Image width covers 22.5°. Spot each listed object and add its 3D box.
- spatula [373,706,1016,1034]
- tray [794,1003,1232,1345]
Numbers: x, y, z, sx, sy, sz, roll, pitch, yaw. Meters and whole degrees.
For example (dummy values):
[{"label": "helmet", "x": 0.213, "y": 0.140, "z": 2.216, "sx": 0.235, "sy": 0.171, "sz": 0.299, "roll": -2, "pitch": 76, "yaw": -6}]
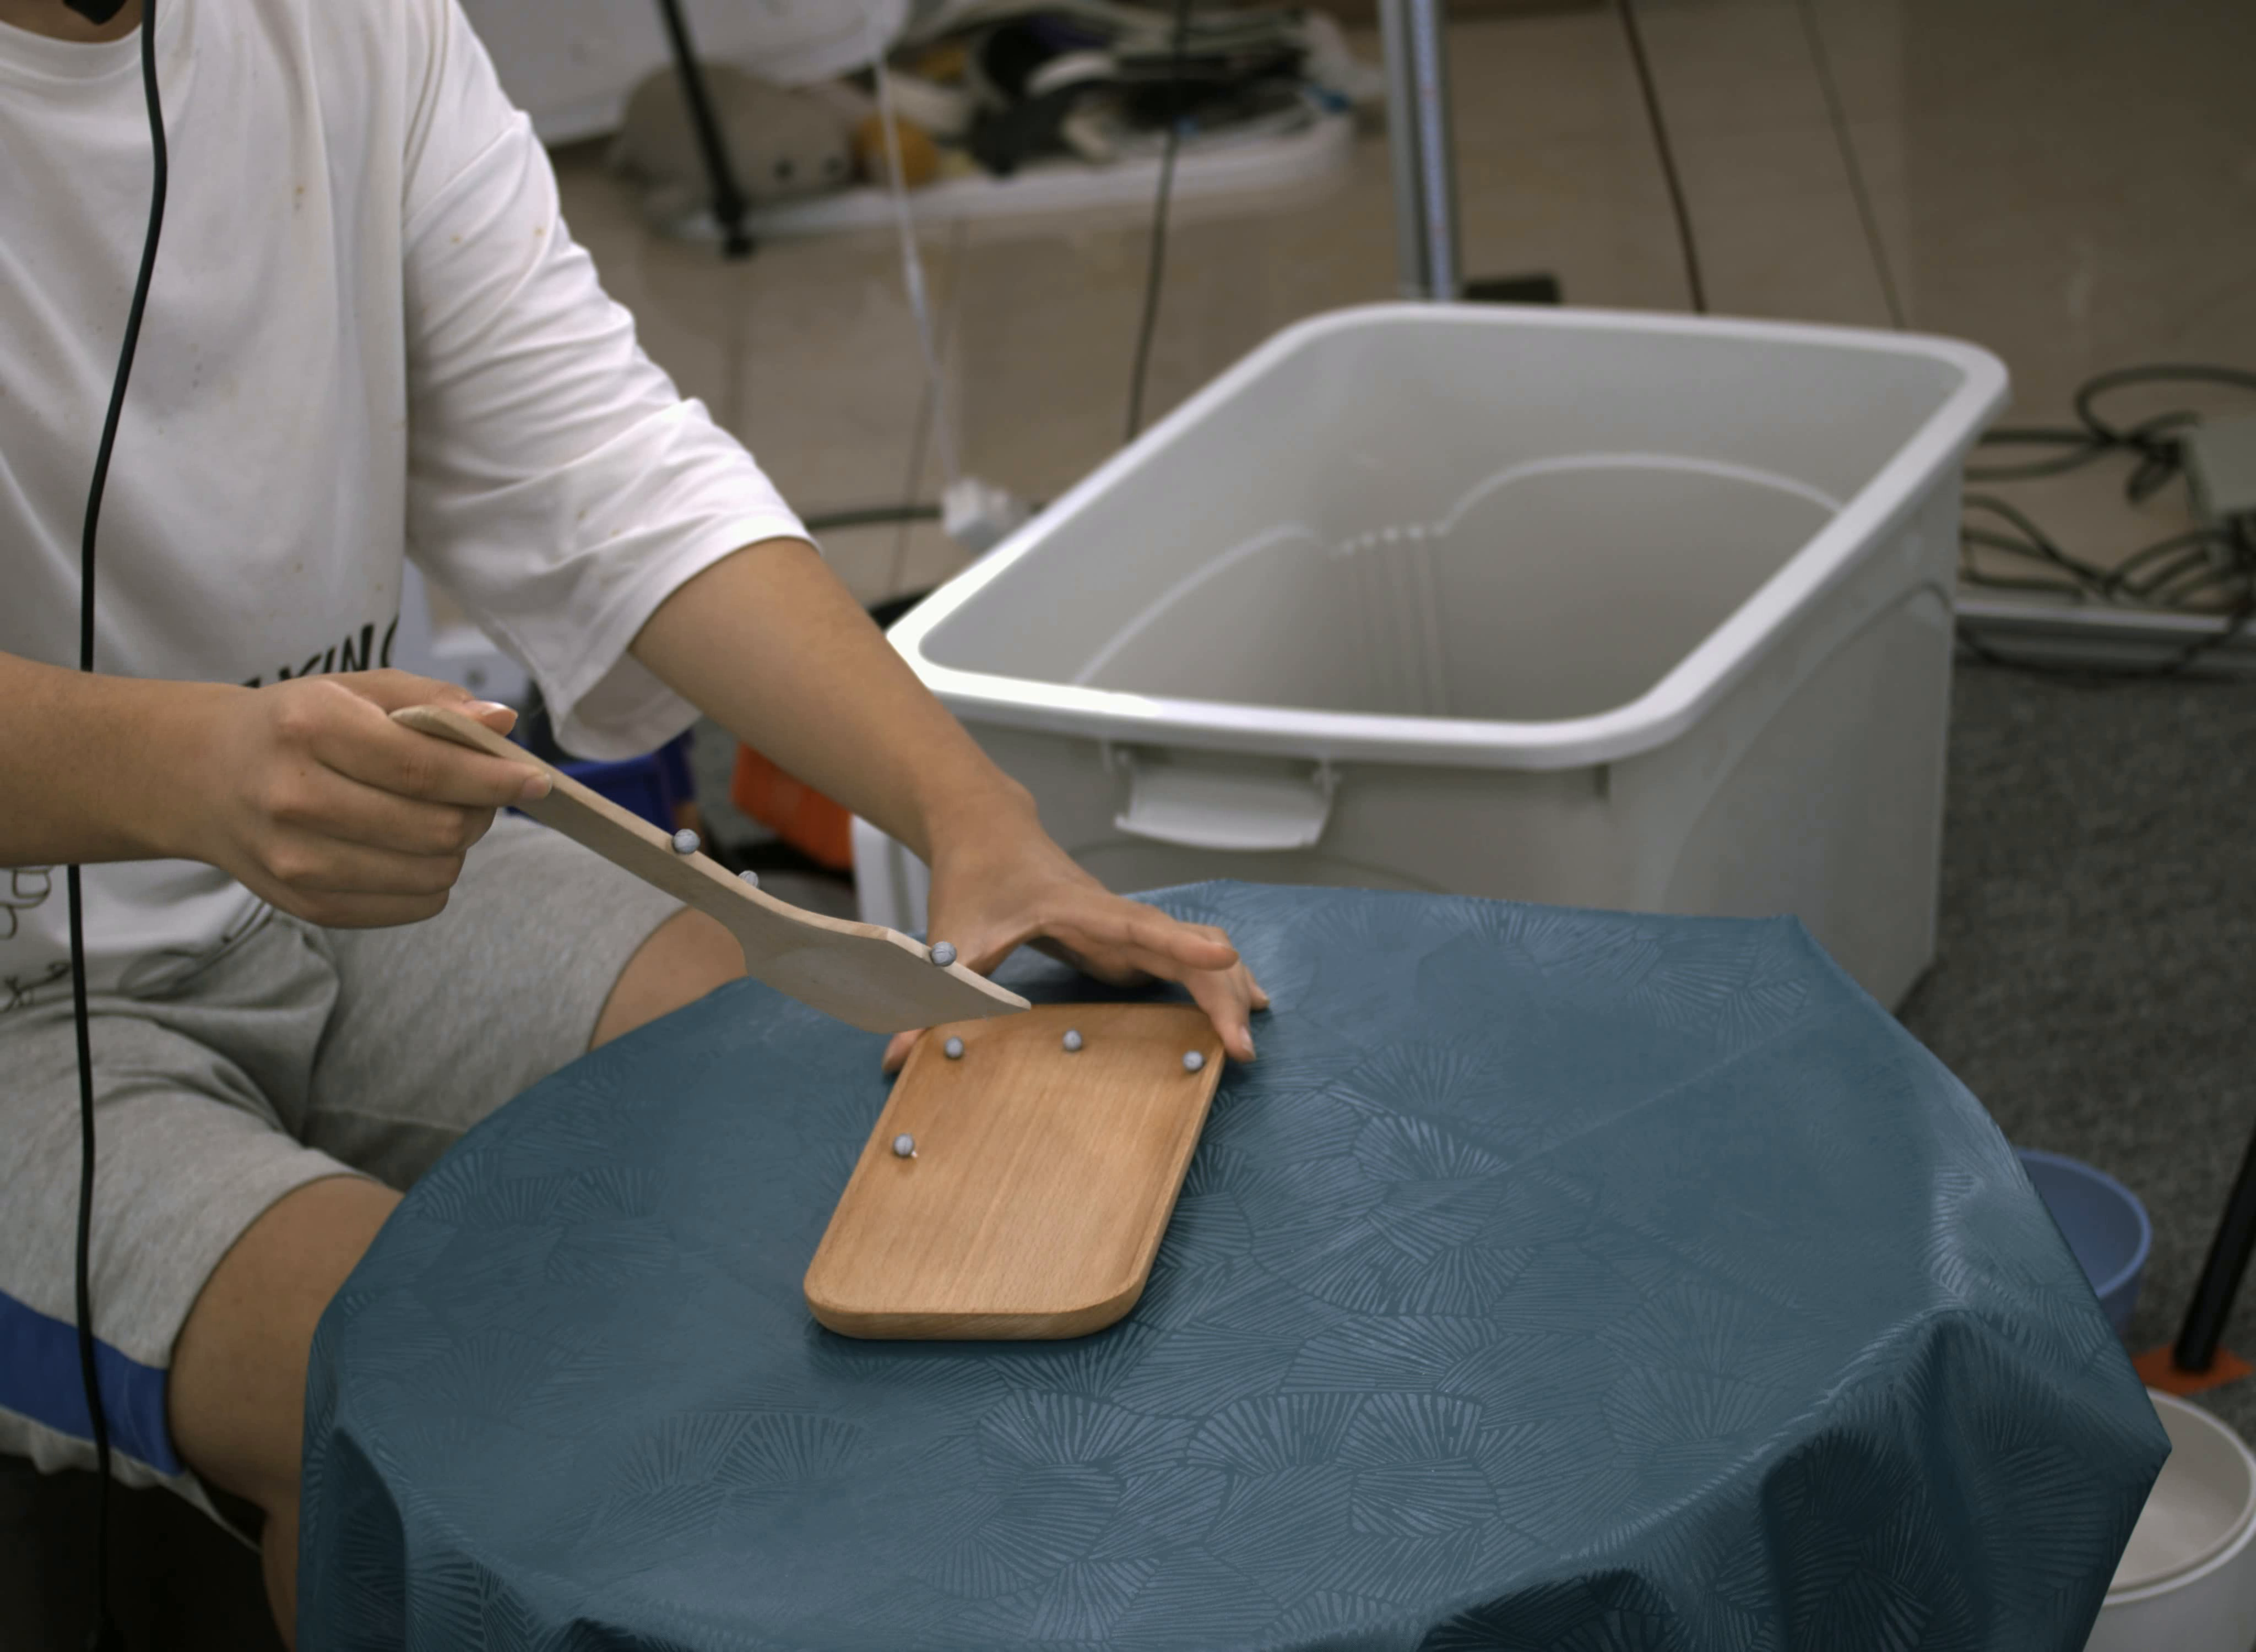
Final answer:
[{"label": "spatula", "x": -0.149, "y": 0.018, "z": 1.917, "sx": 0.072, "sy": 0.296, "sz": 0.010, "roll": -9, "pitch": 63, "yaw": 36}, {"label": "tray", "x": -0.040, "y": 0.130, "z": 2.158, "sx": 0.130, "sy": 0.023, "sz": 0.247, "roll": -2, "pitch": 26, "yaw": 15}]
